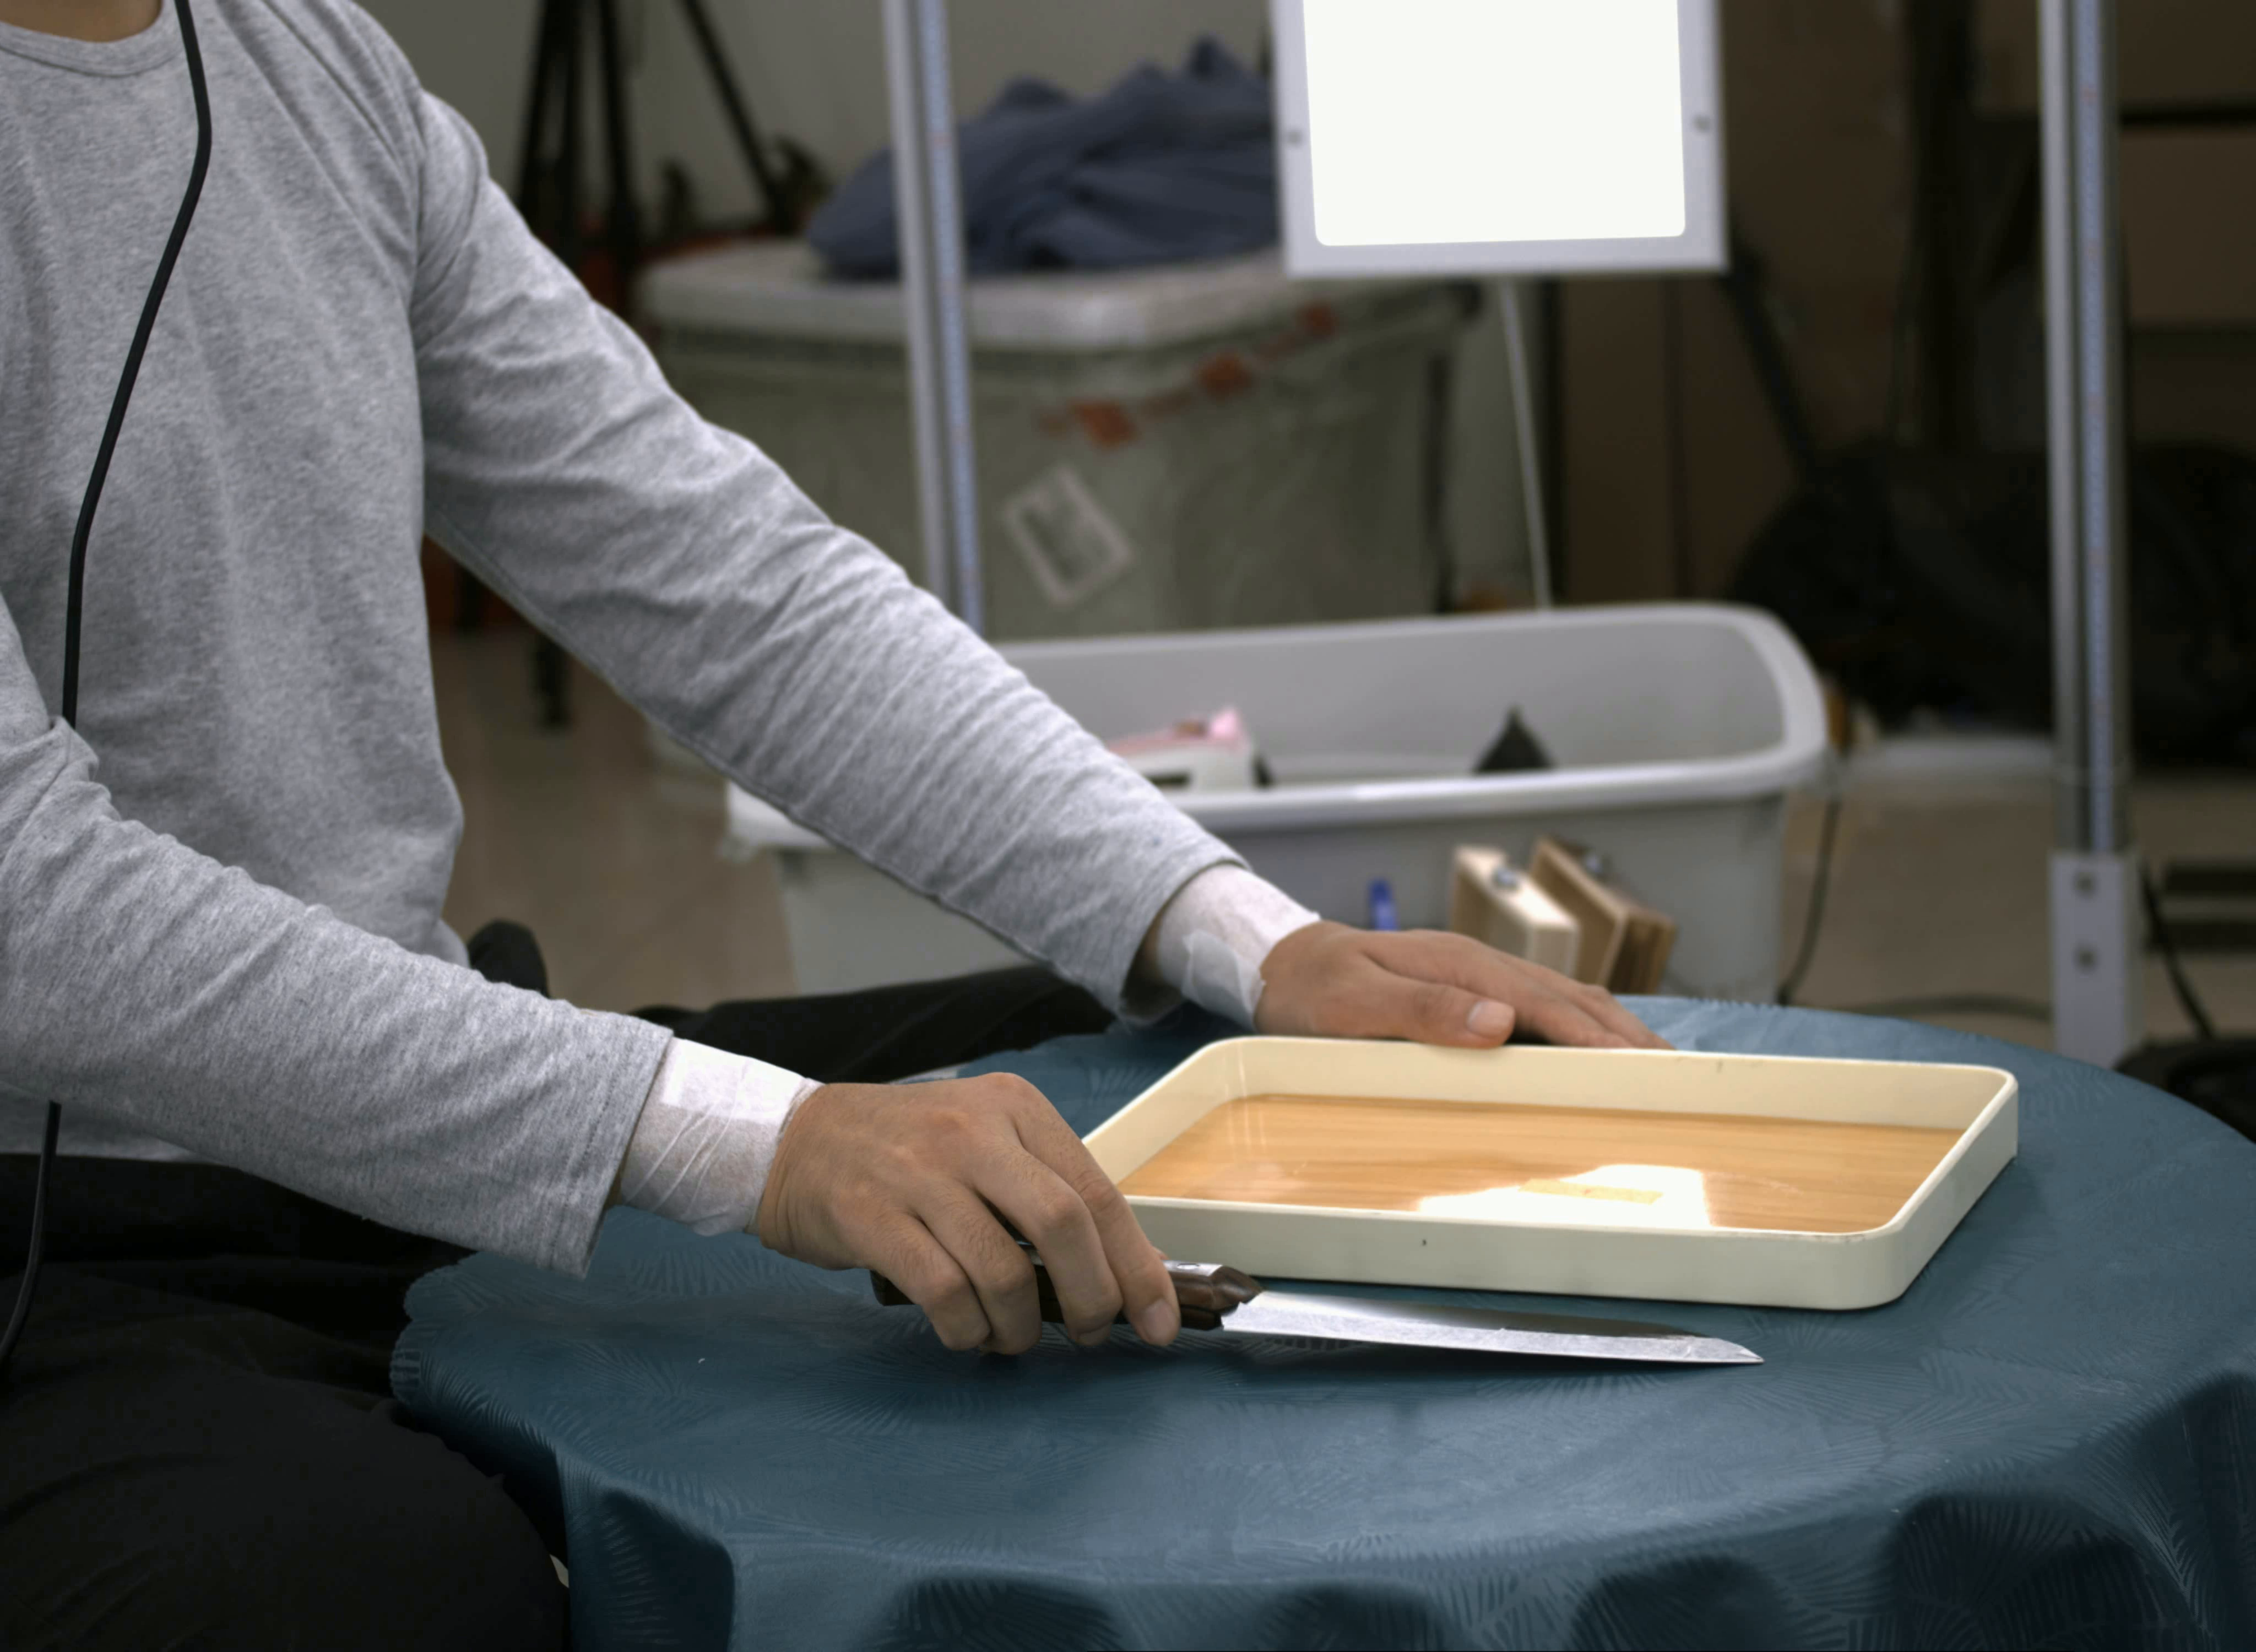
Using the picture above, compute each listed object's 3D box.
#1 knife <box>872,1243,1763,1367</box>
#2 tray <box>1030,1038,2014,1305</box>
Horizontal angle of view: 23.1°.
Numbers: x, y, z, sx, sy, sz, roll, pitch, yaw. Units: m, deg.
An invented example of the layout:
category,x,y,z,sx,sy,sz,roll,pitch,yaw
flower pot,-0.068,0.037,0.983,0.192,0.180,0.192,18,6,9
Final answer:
category,x,y,z,sx,sy,sz,roll,pitch,yaw
knife,0.056,0.153,1.722,0.292,0.020,0.049,4,15,16
tray,0.136,0.114,1.849,0.305,0.027,0.188,1,15,25
